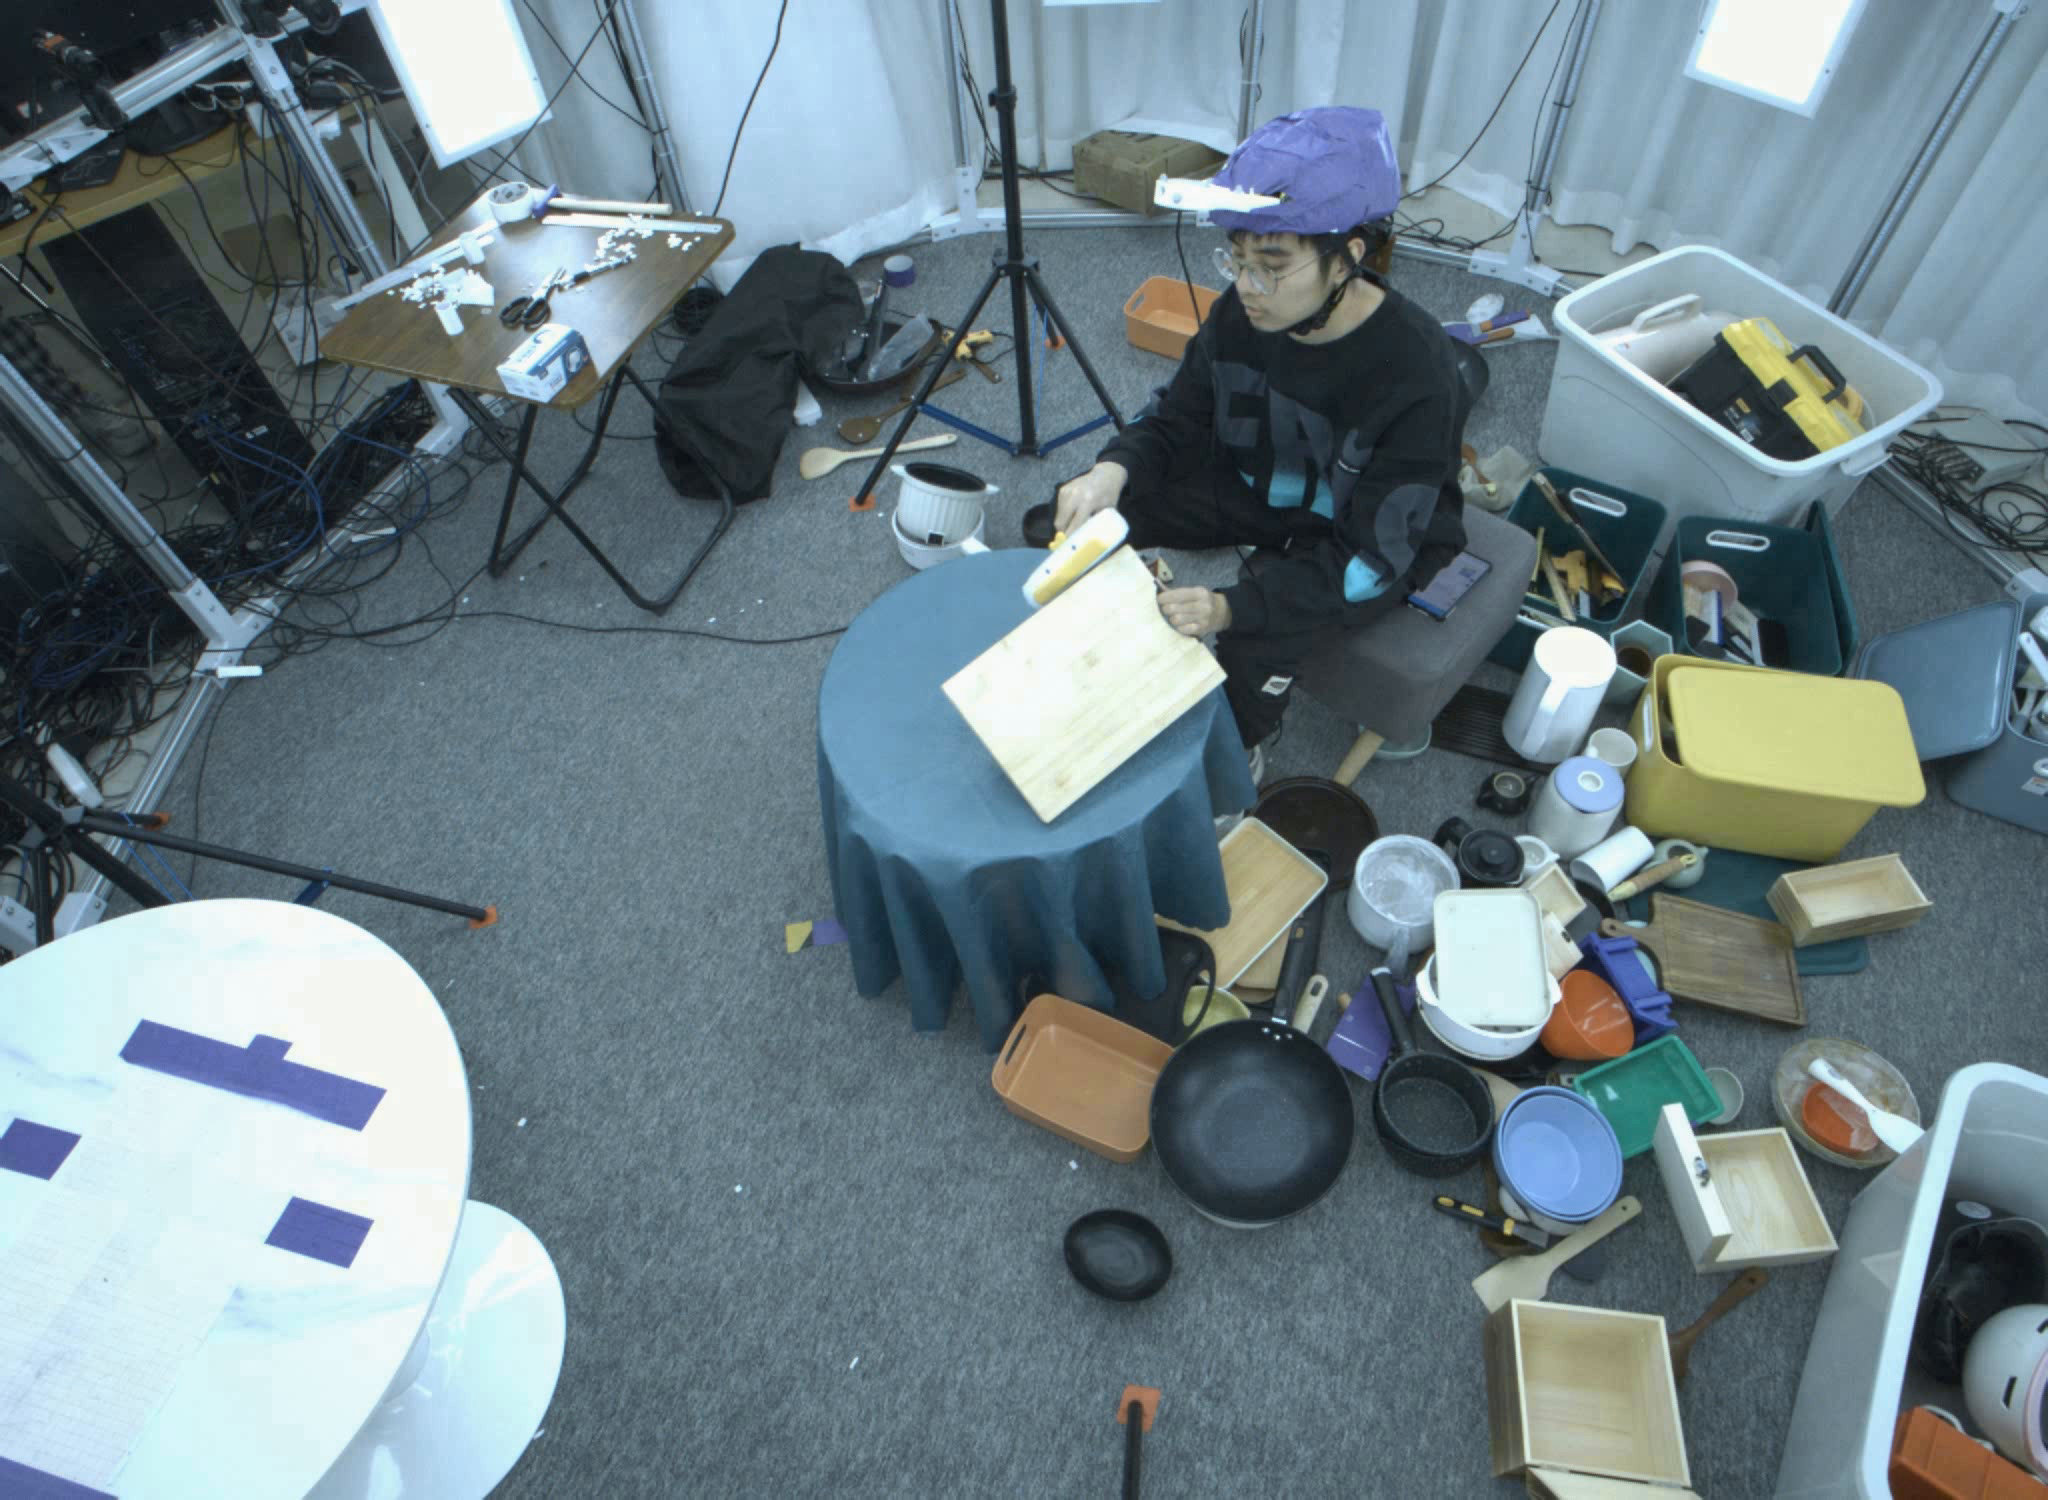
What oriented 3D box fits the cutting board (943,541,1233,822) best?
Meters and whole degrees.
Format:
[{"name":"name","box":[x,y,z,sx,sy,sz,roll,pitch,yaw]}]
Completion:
[{"name":"cutting board","box":[0.092,-0.099,1.726,0.350,0.023,0.252,-39,98,-12]}]

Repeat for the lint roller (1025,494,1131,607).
[{"name":"lint roller","box":[0.081,-0.314,1.796,0.075,0.191,0.192,36,35,-11]}]
